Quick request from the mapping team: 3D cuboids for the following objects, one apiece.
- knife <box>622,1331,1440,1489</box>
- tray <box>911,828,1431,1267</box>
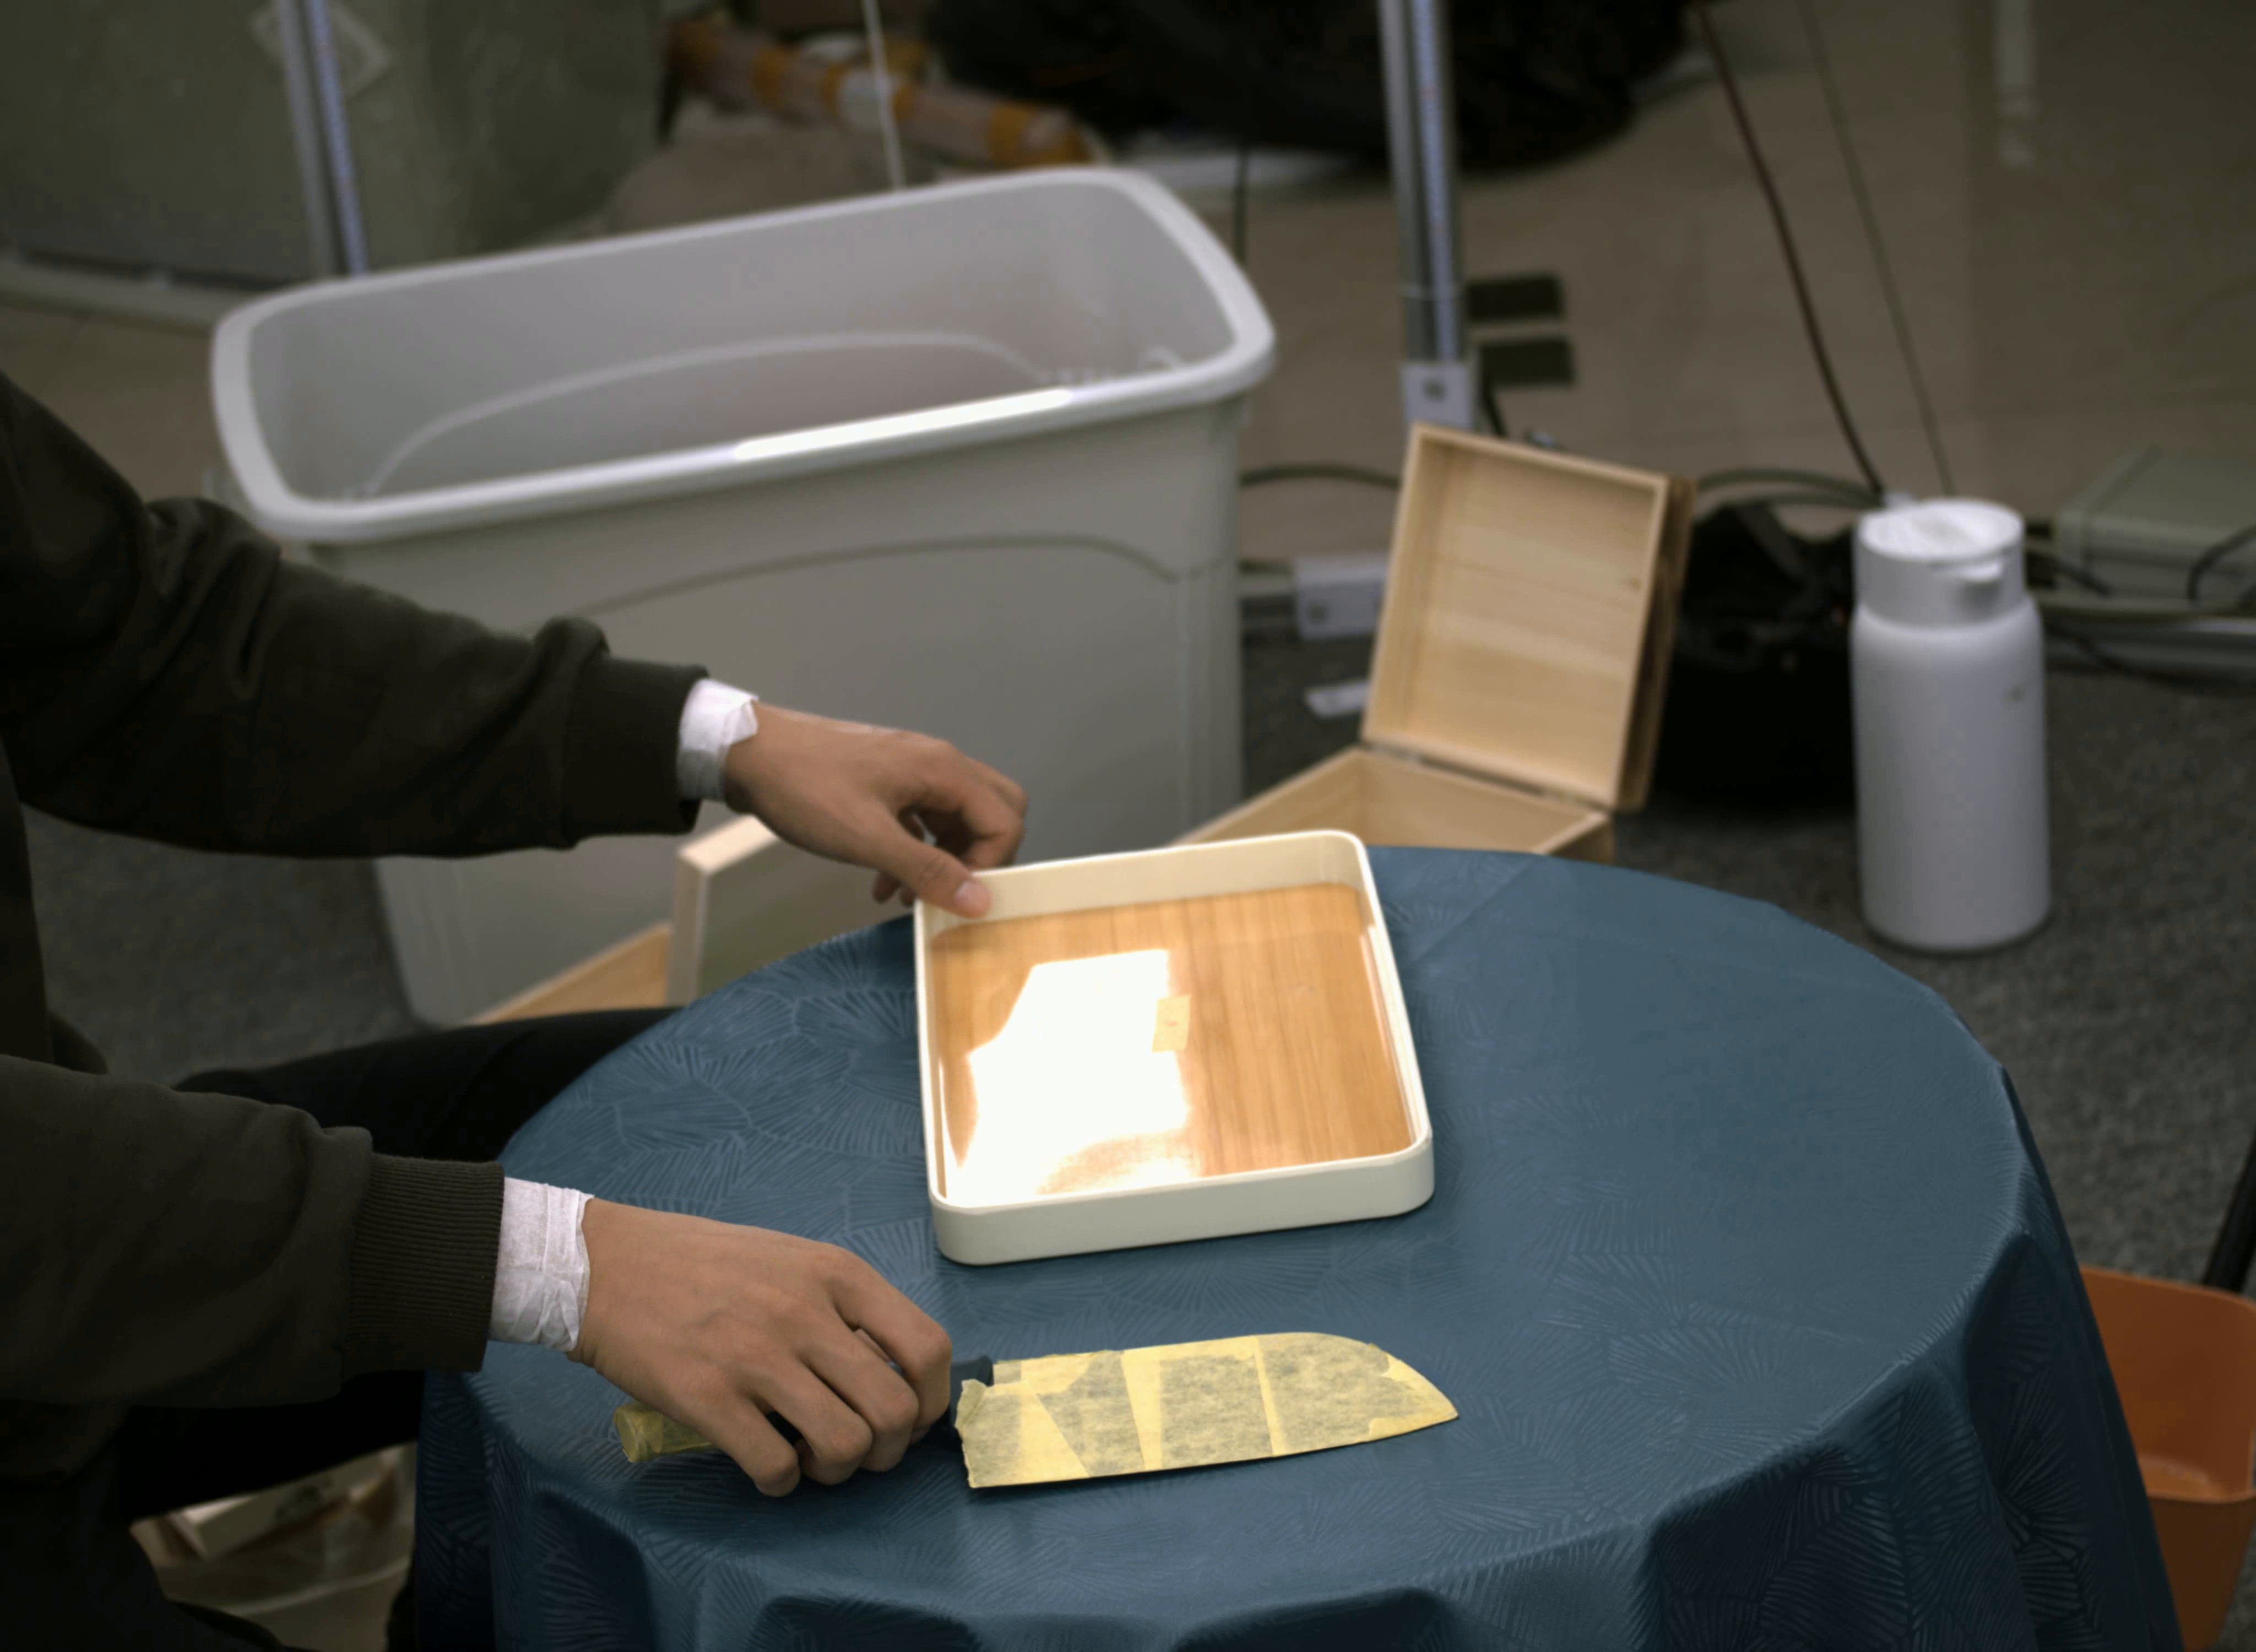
[{"bbox_3d":[-0.034,0.209,1.992,0.289,0.027,0.080,-6,27,0],"label":"knife"},{"bbox_3d":[0.012,0.083,2.237,0.191,0.028,0.296,-8,24,0],"label":"tray"}]
